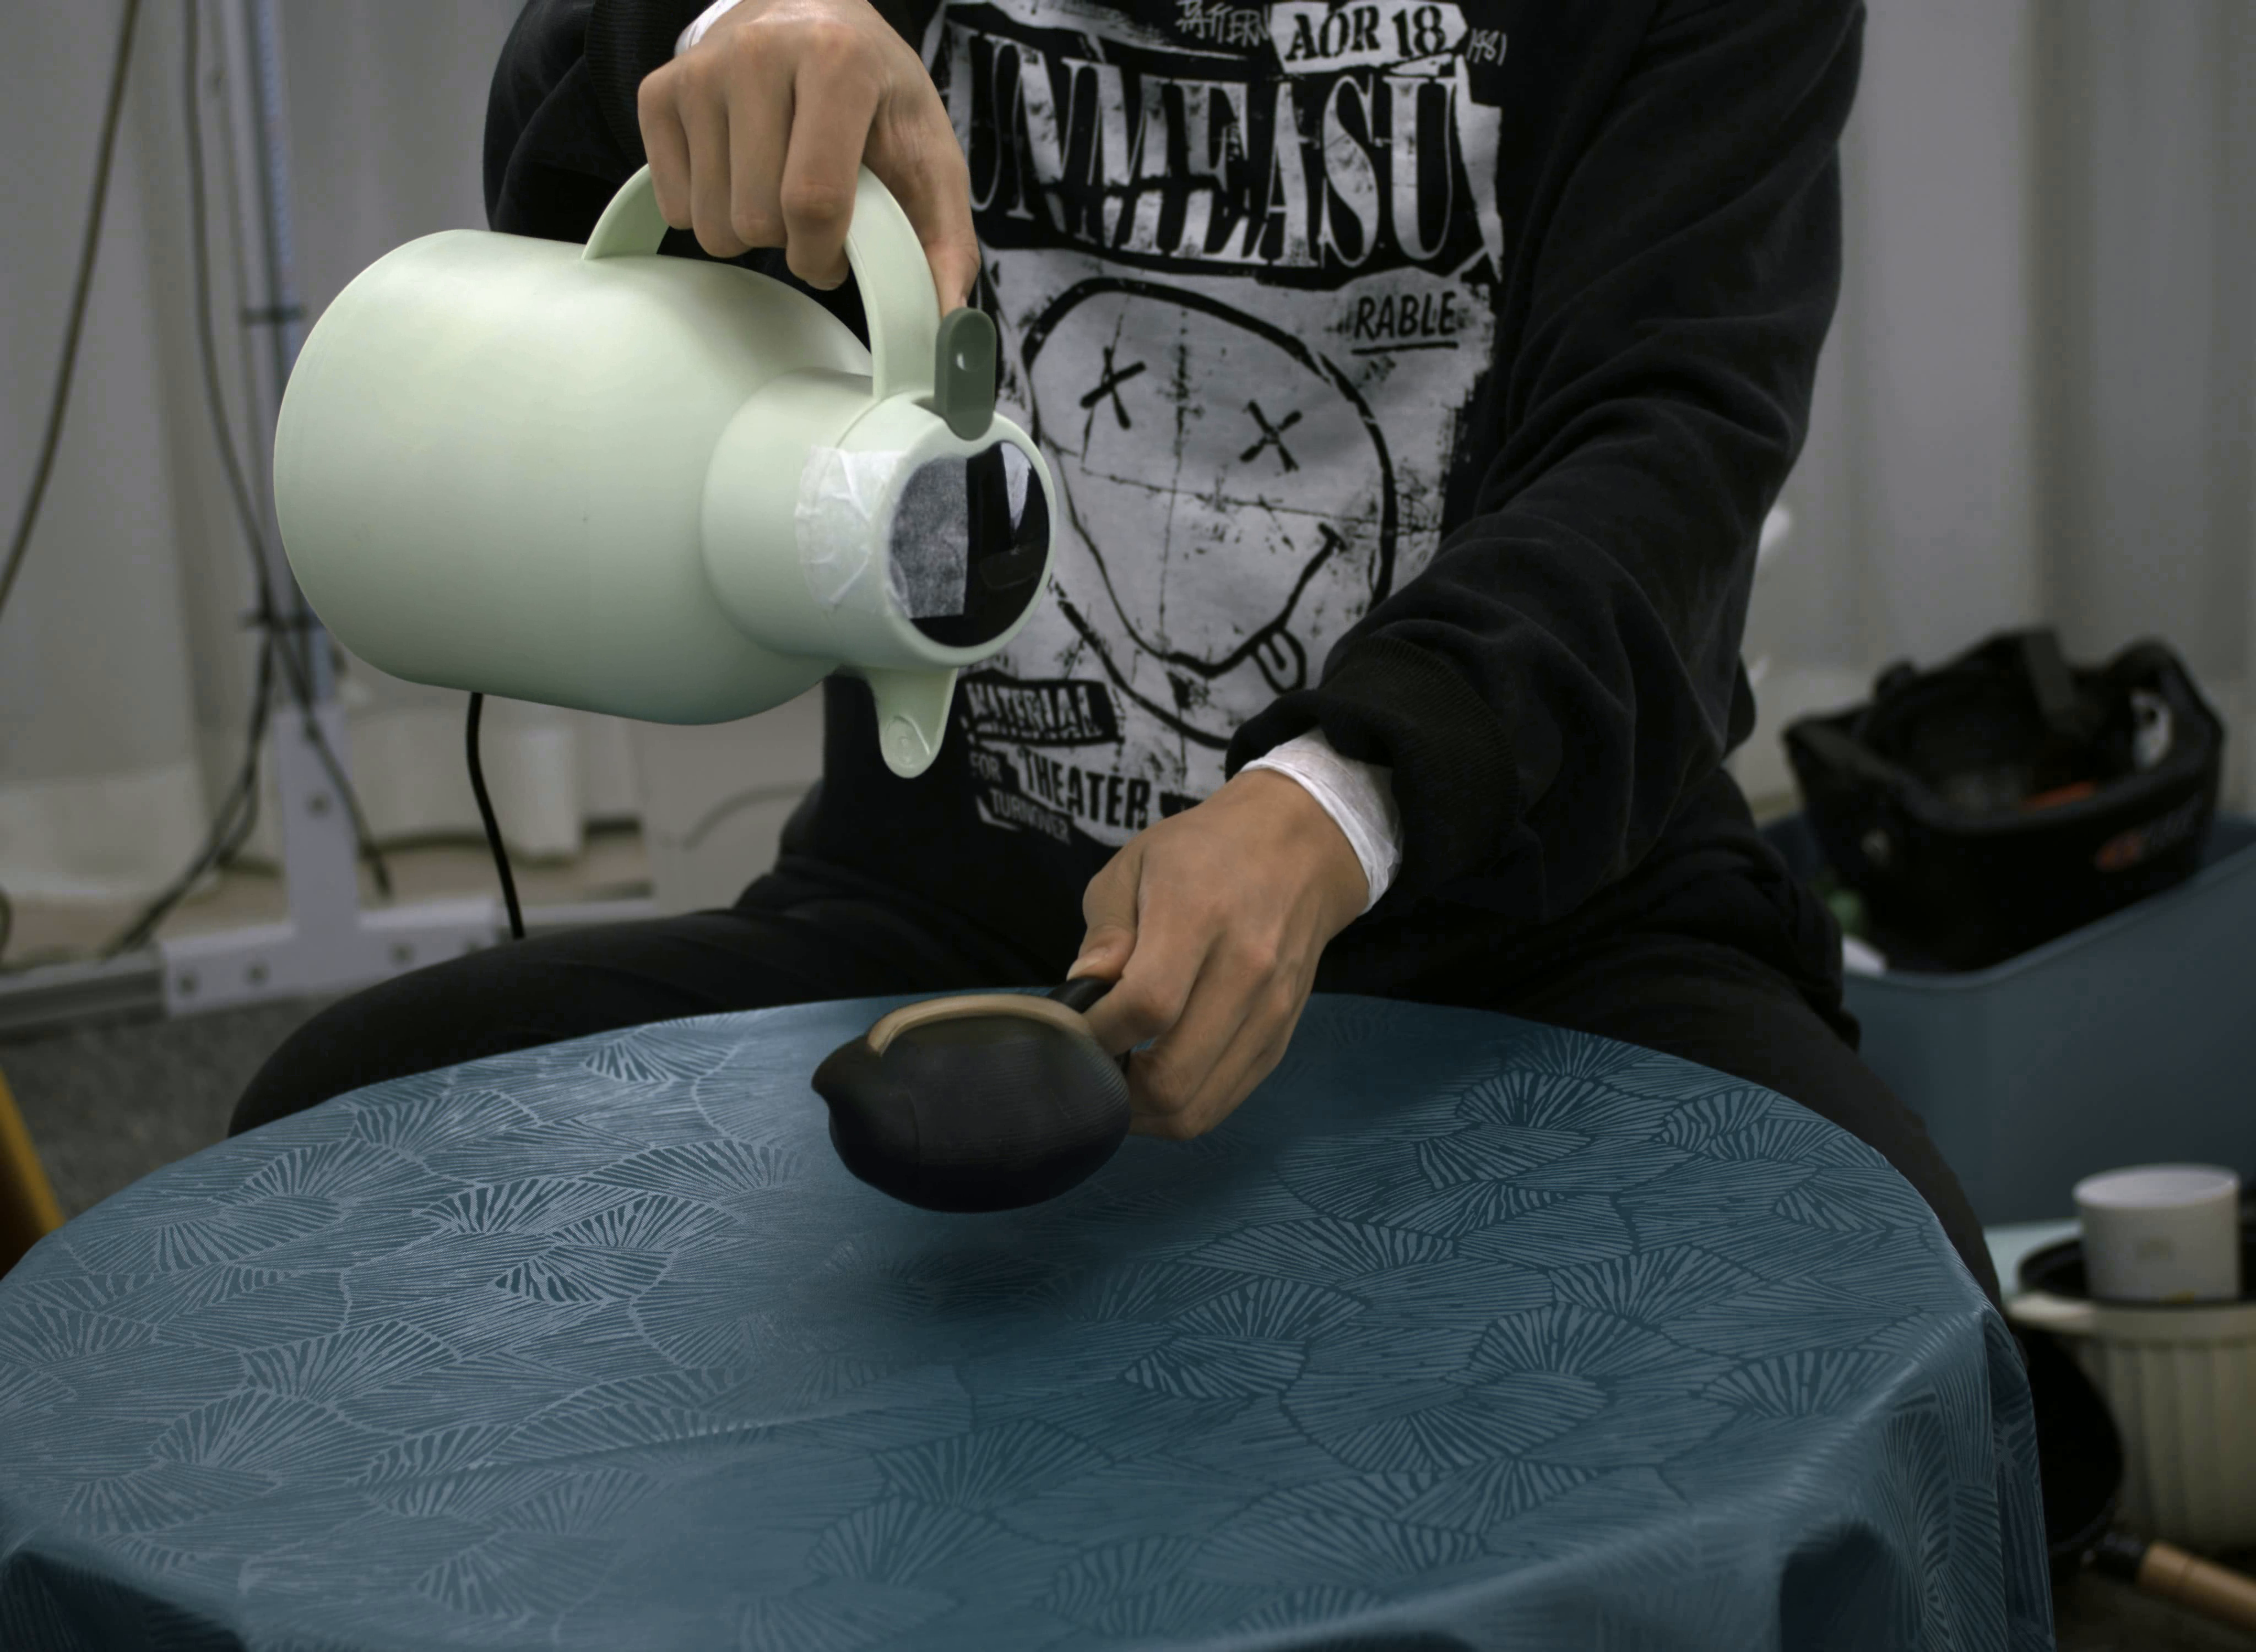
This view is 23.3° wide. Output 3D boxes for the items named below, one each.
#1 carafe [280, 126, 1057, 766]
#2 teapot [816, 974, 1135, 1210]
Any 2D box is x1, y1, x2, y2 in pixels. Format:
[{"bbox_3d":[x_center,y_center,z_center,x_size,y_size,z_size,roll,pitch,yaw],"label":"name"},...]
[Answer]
[{"bbox_3d":[-0.133,-0.118,1.662,0.143,0.187,0.258,-6,9,-44],"label":"carafe"},{"bbox_3d":[-0.043,0.081,1.627,0.091,0.053,0.133,10,19,40],"label":"teapot"}]
